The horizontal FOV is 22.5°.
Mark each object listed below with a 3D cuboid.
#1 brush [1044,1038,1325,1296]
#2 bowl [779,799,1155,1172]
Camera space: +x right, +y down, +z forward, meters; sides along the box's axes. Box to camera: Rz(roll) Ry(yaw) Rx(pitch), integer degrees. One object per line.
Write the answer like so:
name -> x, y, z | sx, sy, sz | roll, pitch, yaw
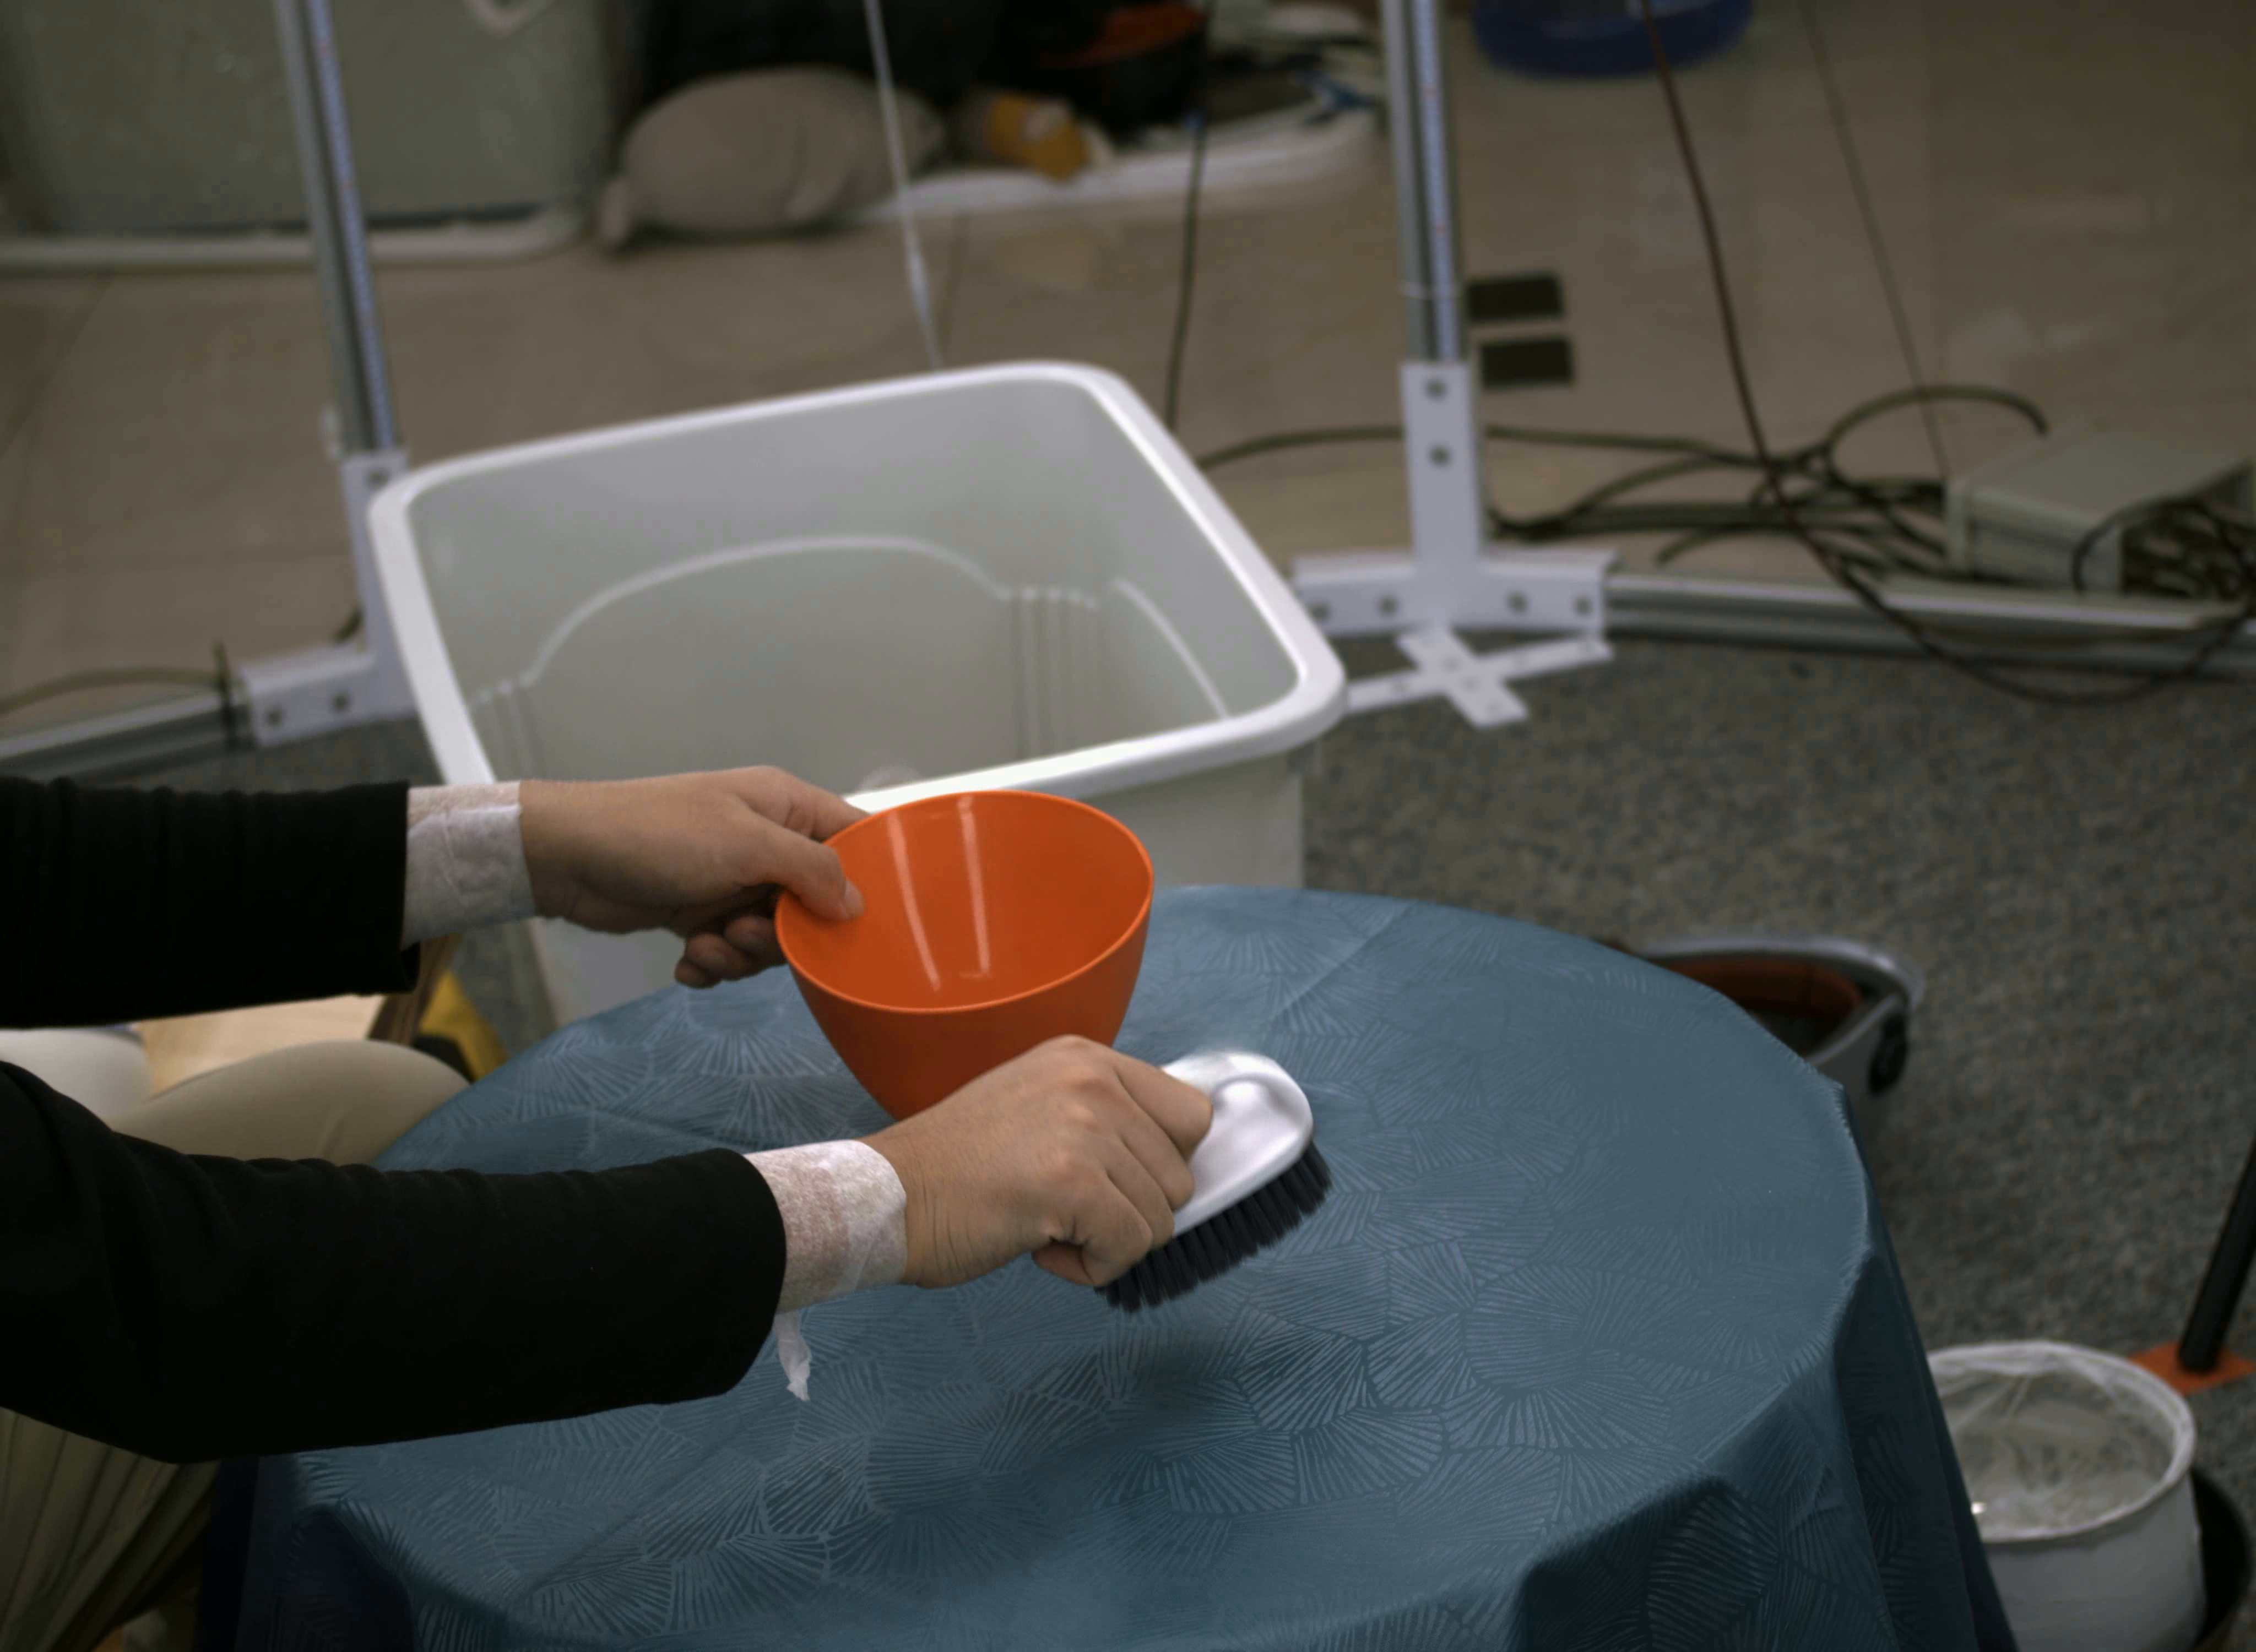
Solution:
brush -> 0.016, 0.113, 1.999 | 0.099, 0.074, 0.049 | -29, 44, -11
bowl -> -0.056, 0.068, 2.198 | 0.148, 0.106, 0.146 | -8, 26, 4
